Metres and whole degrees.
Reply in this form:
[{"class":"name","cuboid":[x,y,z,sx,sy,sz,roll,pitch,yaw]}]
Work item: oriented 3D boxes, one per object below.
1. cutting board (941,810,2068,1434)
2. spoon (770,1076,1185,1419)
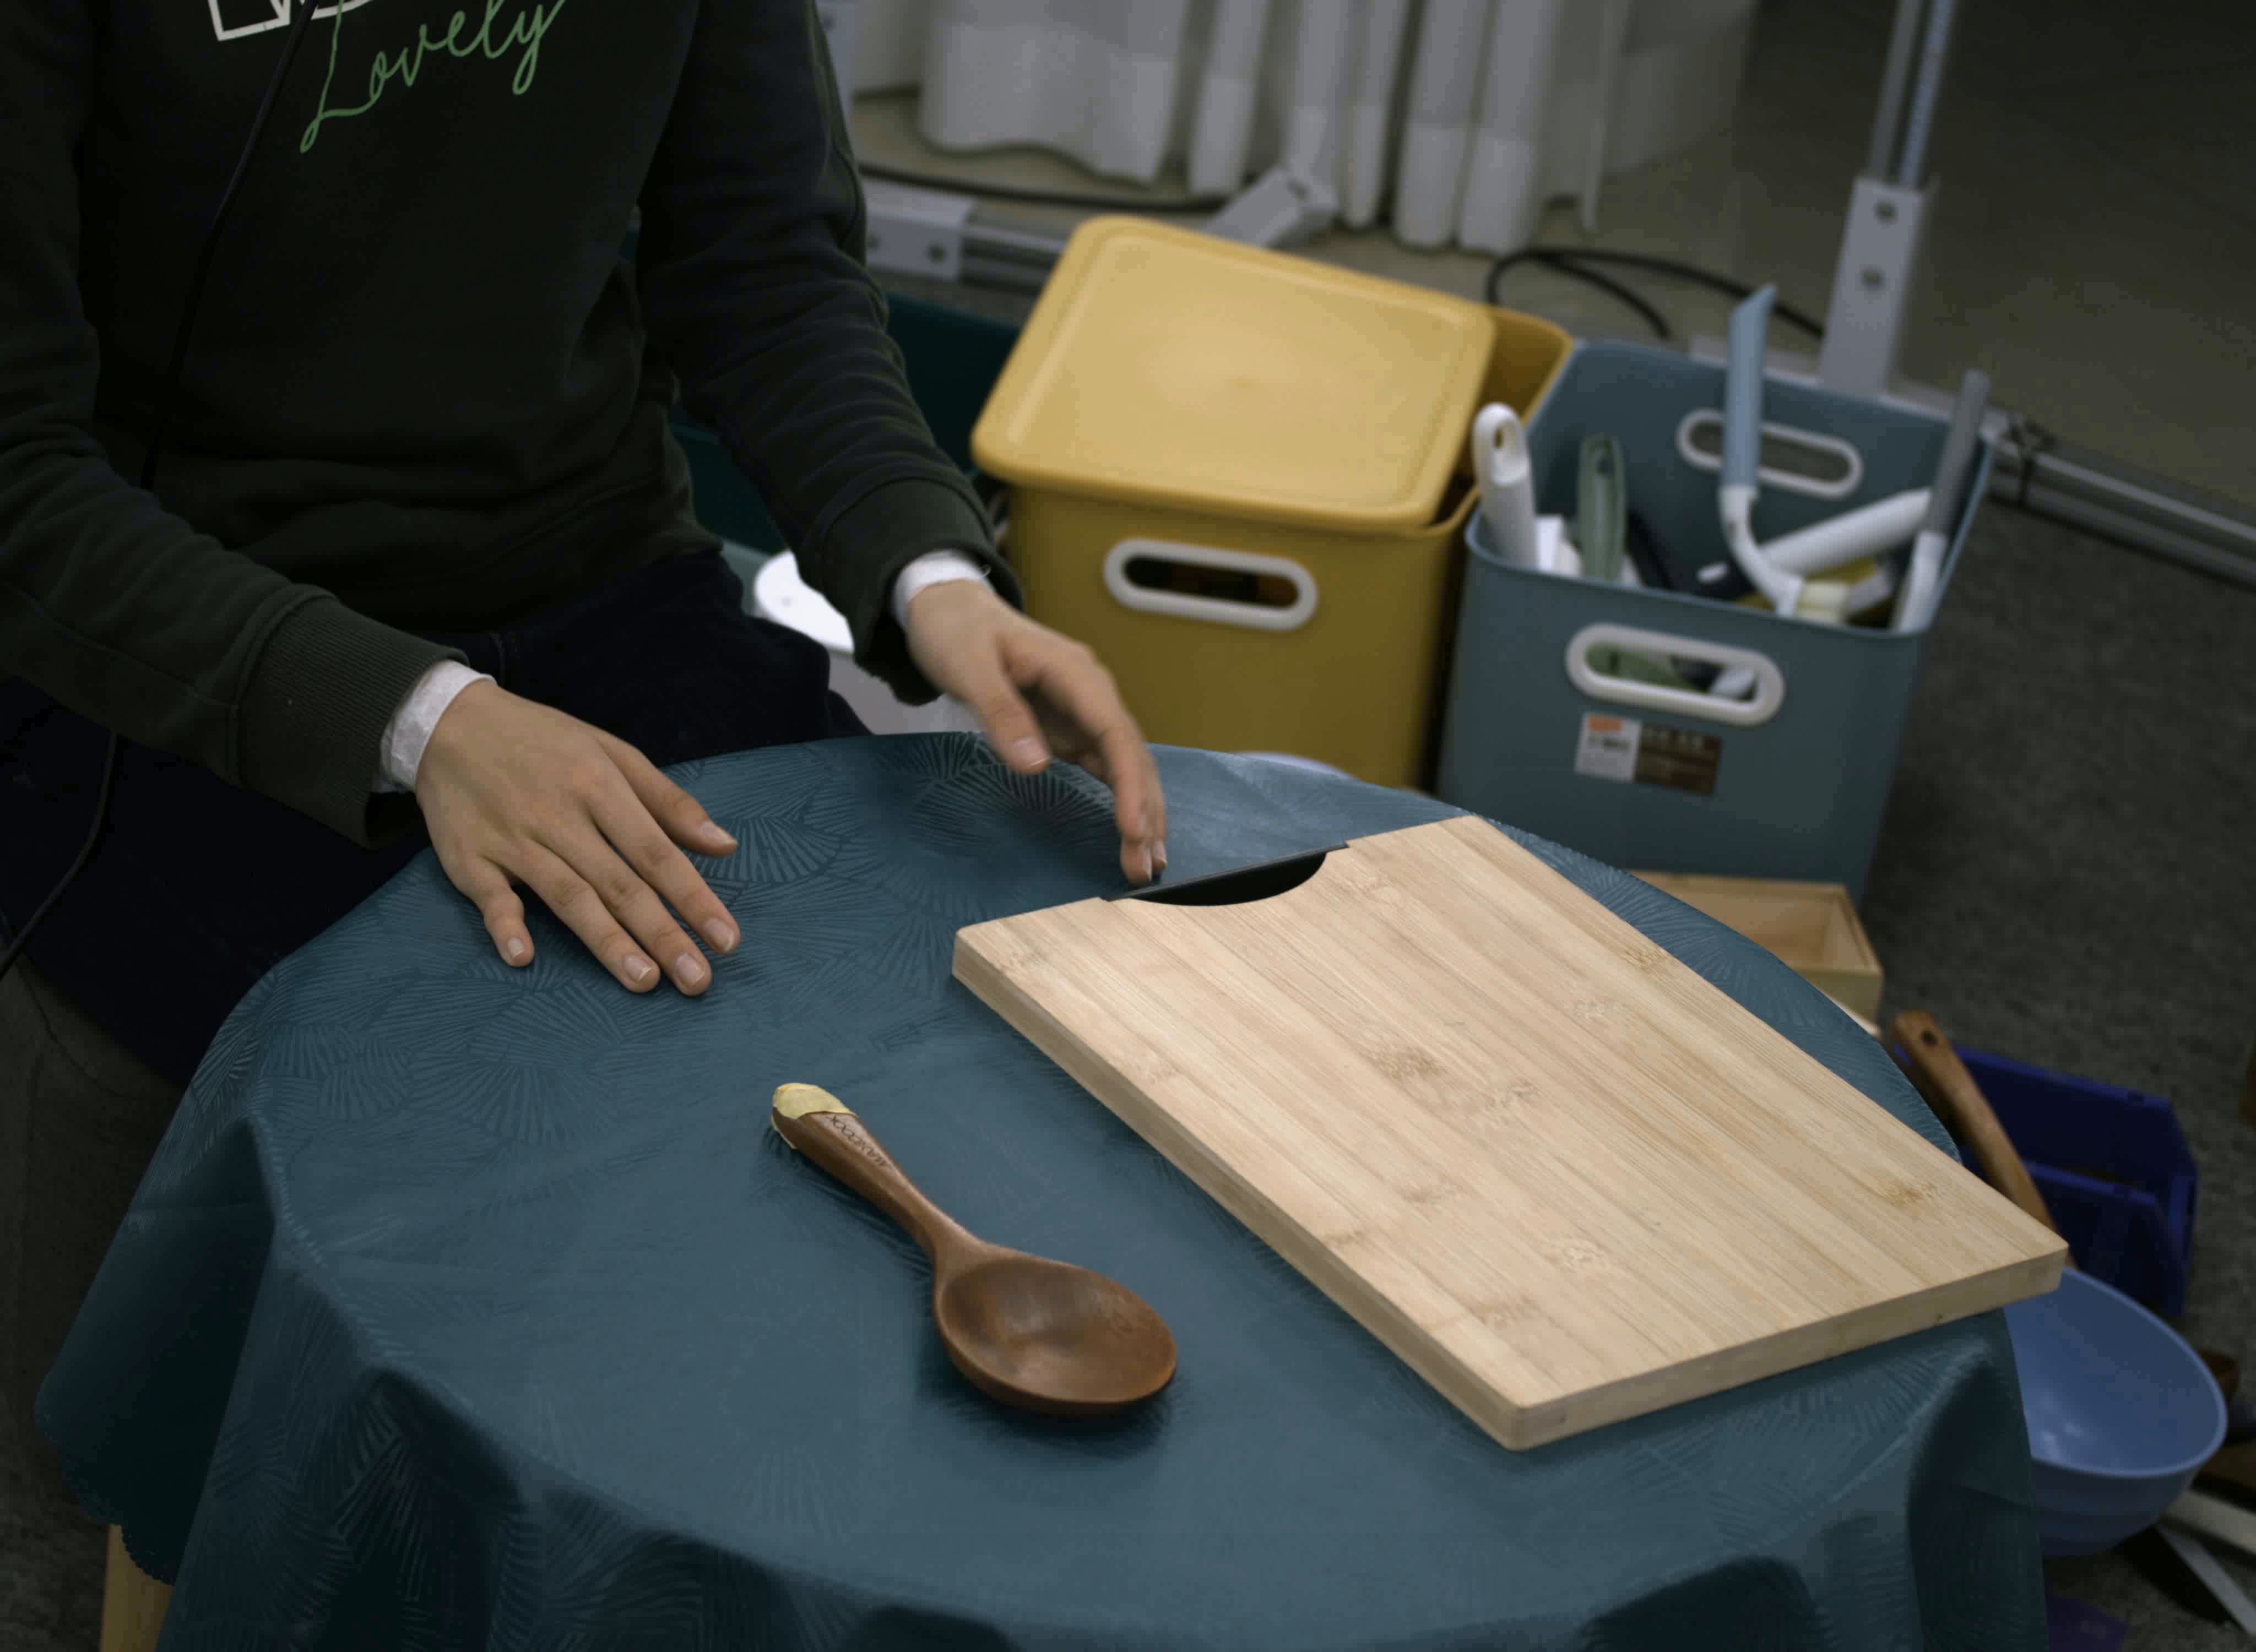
[{"class":"cutting board","cuboid":[0.125,0.096,1.866,0.249,0.023,0.352,-12,32,-33]},{"class":"spoon","cuboid":[-0.057,0.138,1.739,0.075,0.017,0.218,-12,33,-31]}]
